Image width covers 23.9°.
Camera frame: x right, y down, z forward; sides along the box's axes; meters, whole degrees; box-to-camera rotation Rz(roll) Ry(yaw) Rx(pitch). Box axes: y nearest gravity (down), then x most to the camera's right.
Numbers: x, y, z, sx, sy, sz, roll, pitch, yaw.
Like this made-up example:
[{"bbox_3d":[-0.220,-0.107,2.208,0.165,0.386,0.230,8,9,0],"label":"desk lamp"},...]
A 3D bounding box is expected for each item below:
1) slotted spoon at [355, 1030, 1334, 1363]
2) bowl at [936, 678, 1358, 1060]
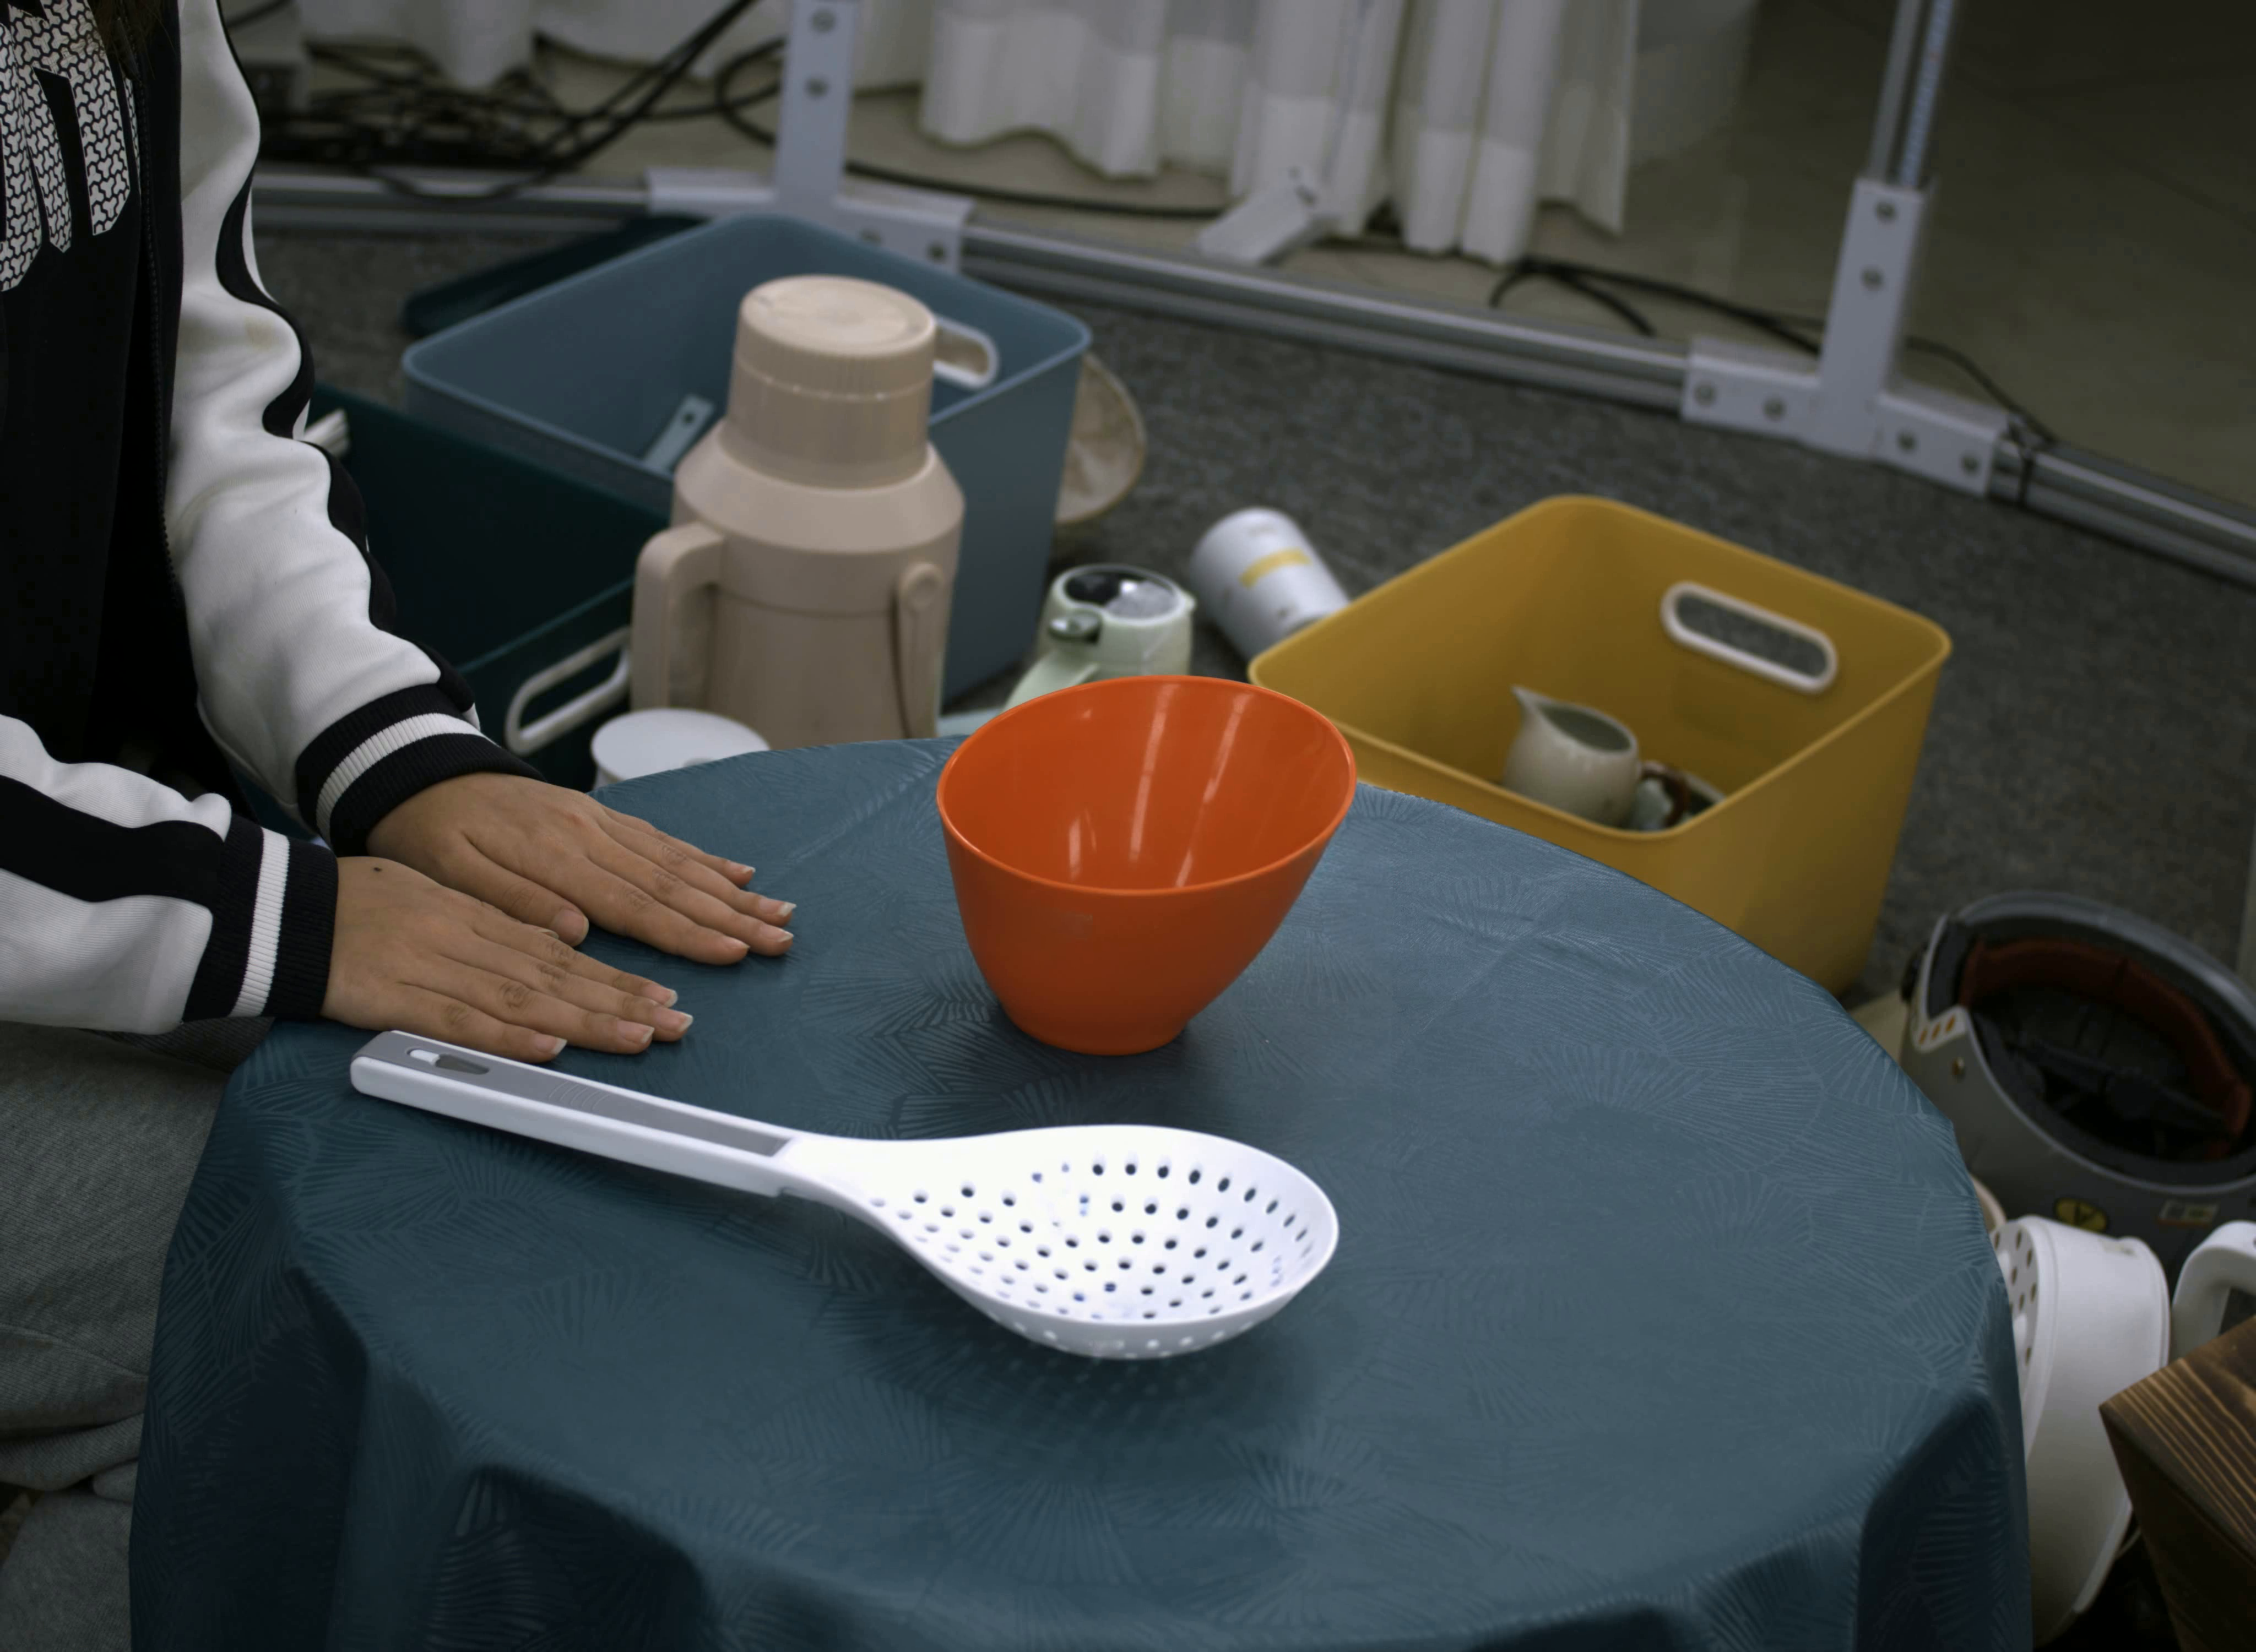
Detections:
[{"bbox_3d":[-0.100,0.114,1.750,0.351,0.045,0.136,16,27,20],"label":"slotted spoon"},{"bbox_3d":[0.003,0.021,1.894,0.147,0.104,0.149,5,29,-3],"label":"bowl"}]
